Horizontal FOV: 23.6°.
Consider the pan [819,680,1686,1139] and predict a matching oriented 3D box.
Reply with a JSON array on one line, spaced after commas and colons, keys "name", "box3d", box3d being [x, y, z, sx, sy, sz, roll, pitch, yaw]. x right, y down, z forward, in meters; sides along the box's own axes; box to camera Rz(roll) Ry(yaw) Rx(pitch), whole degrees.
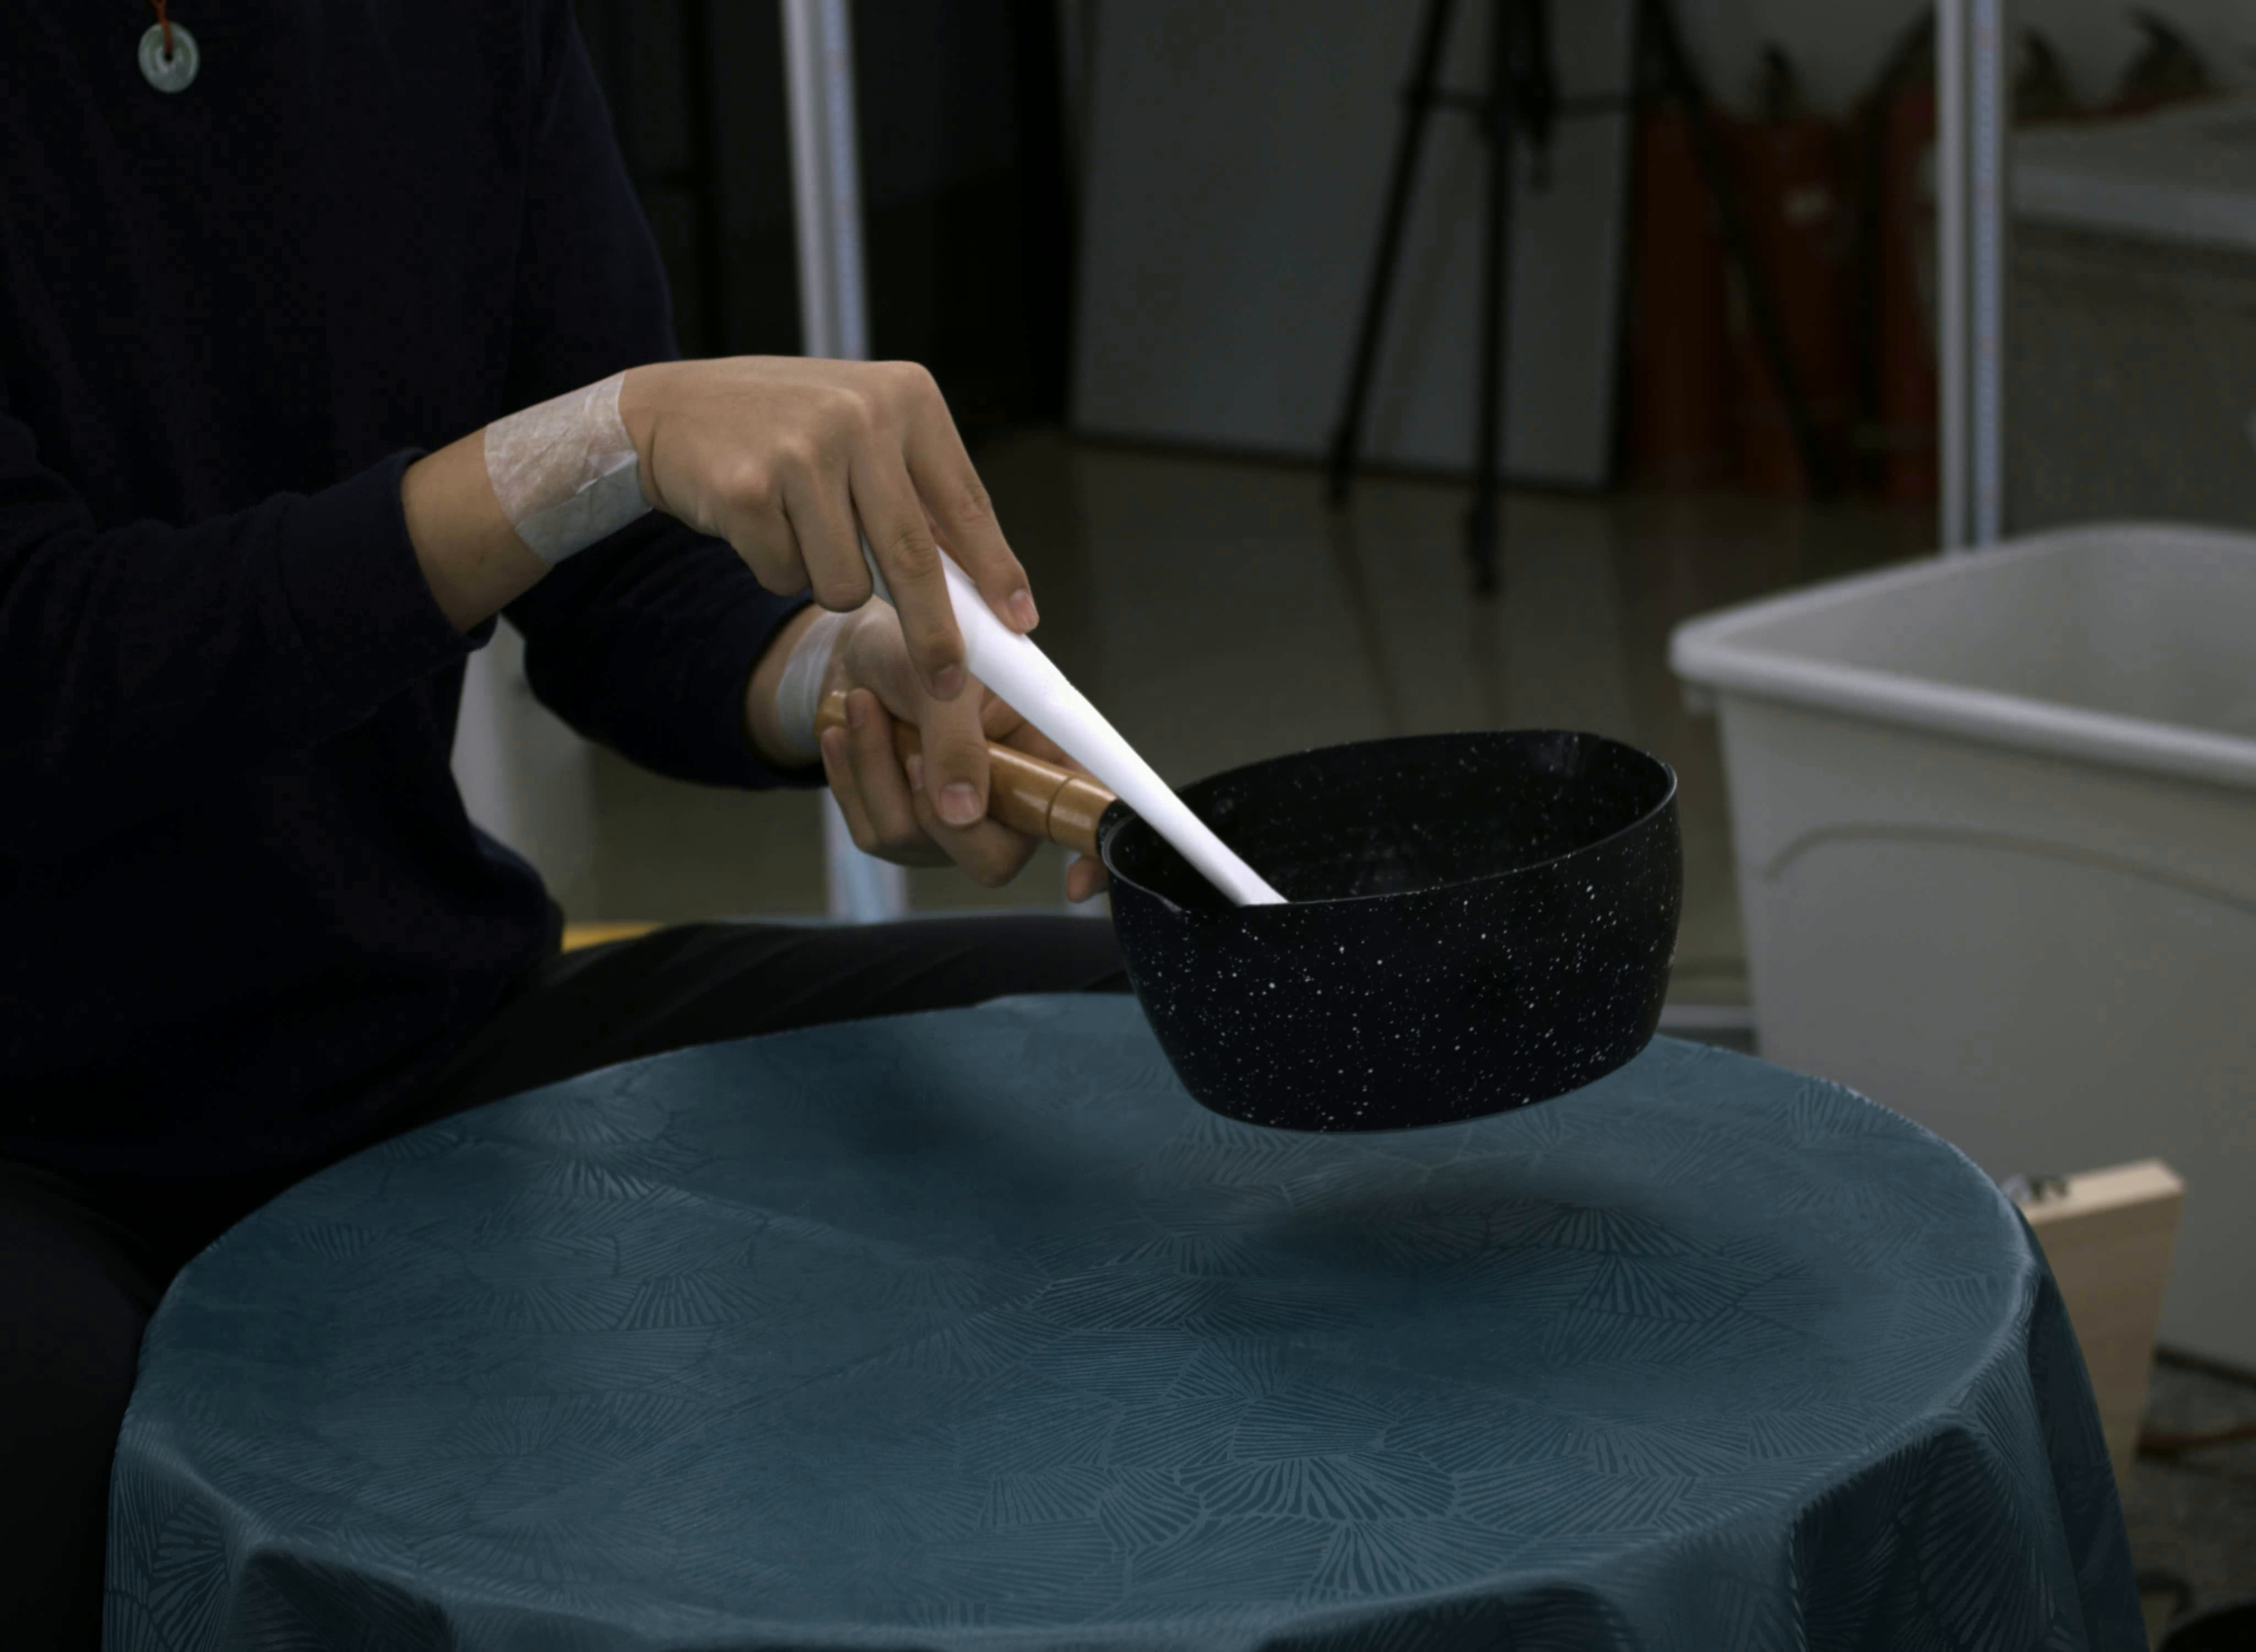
[{"name": "pan", "box3d": [0.028, 0.017, 1.753, 0.346, 0.109, 0.204, 6, 22, 42]}]

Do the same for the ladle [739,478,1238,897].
[{"name": "ladle", "box3d": [0.001, -0.023, 1.719, 0.293, 0.070, 0.089, 38, 49, 10]}]
